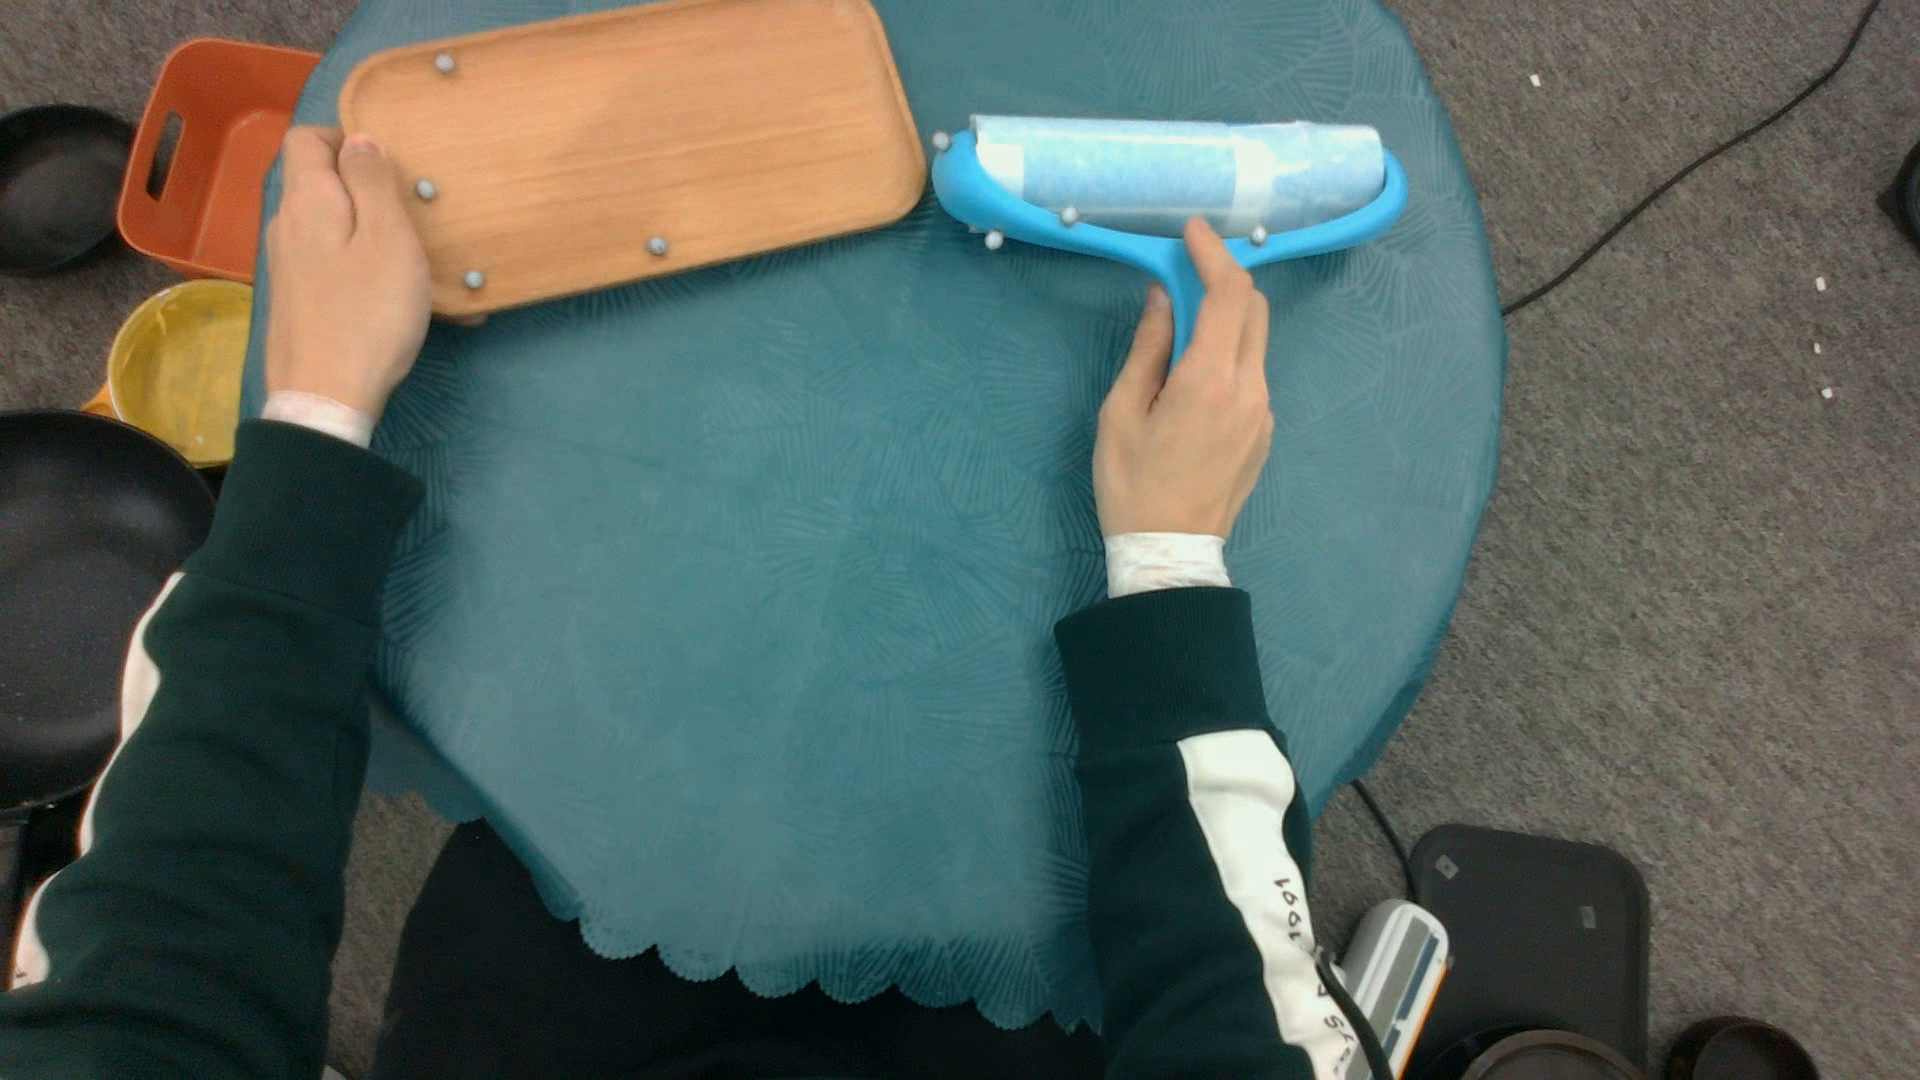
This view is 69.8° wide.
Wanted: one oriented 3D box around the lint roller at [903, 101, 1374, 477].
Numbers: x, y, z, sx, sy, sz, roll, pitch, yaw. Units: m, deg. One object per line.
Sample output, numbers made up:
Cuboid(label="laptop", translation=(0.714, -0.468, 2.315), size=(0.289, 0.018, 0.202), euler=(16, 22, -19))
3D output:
Cuboid(label="lint roller", translation=(0.094, -0.124, 0.650), size=(0.229, 0.068, 0.180), euler=(-5, 77, -10))

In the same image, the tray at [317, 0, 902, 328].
Cuboid(label="tray", translation=(-0.157, -0.181, 0.641), size=(0.251, 0.023, 0.130), euler=(-17, 83, -17))
